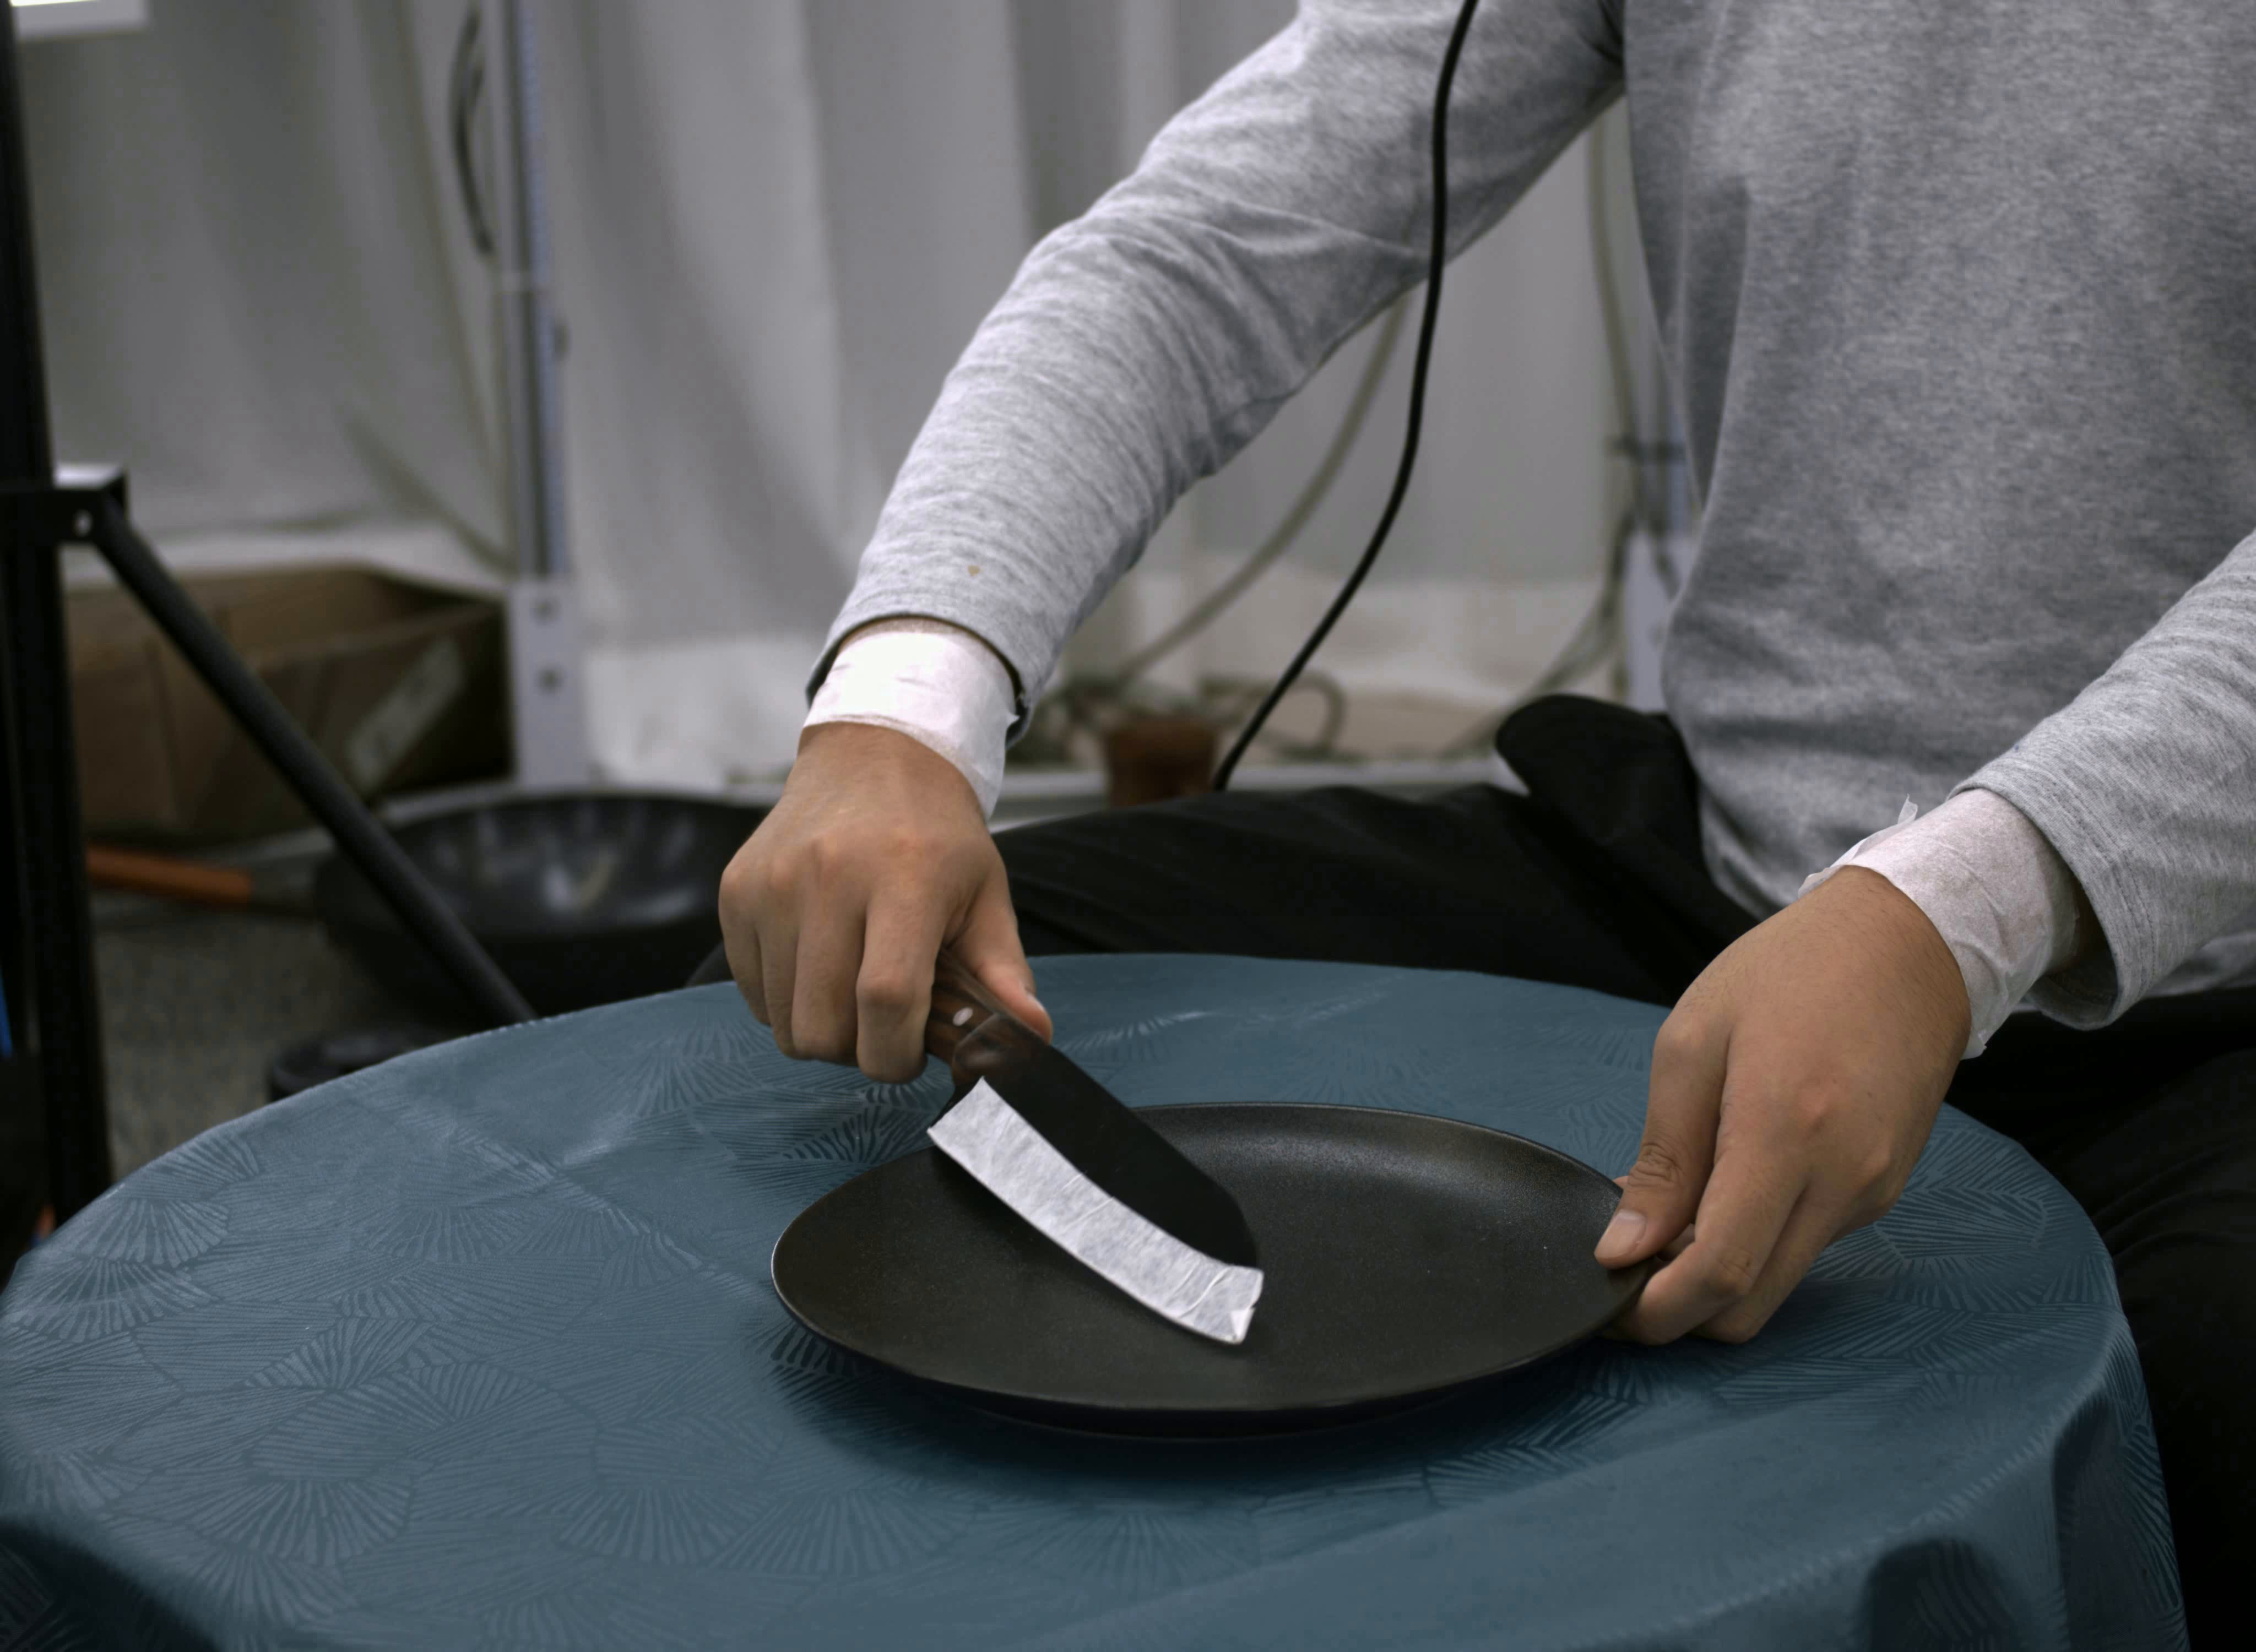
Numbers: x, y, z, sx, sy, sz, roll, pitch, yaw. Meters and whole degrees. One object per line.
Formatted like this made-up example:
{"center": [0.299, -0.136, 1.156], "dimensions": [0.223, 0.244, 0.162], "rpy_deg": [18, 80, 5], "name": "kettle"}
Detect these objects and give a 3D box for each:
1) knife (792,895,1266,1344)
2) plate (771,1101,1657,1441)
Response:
{"center": [-0.031, 0.082, 1.531], "dimensions": [0.050, 0.019, 0.295], "rpy_deg": [-43, 34, -5], "name": "knife"}
{"center": [0.024, 0.125, 1.457], "dimensions": [0.243, 0.023, 0.245], "rpy_deg": [-3, 16, -1], "name": "plate"}
